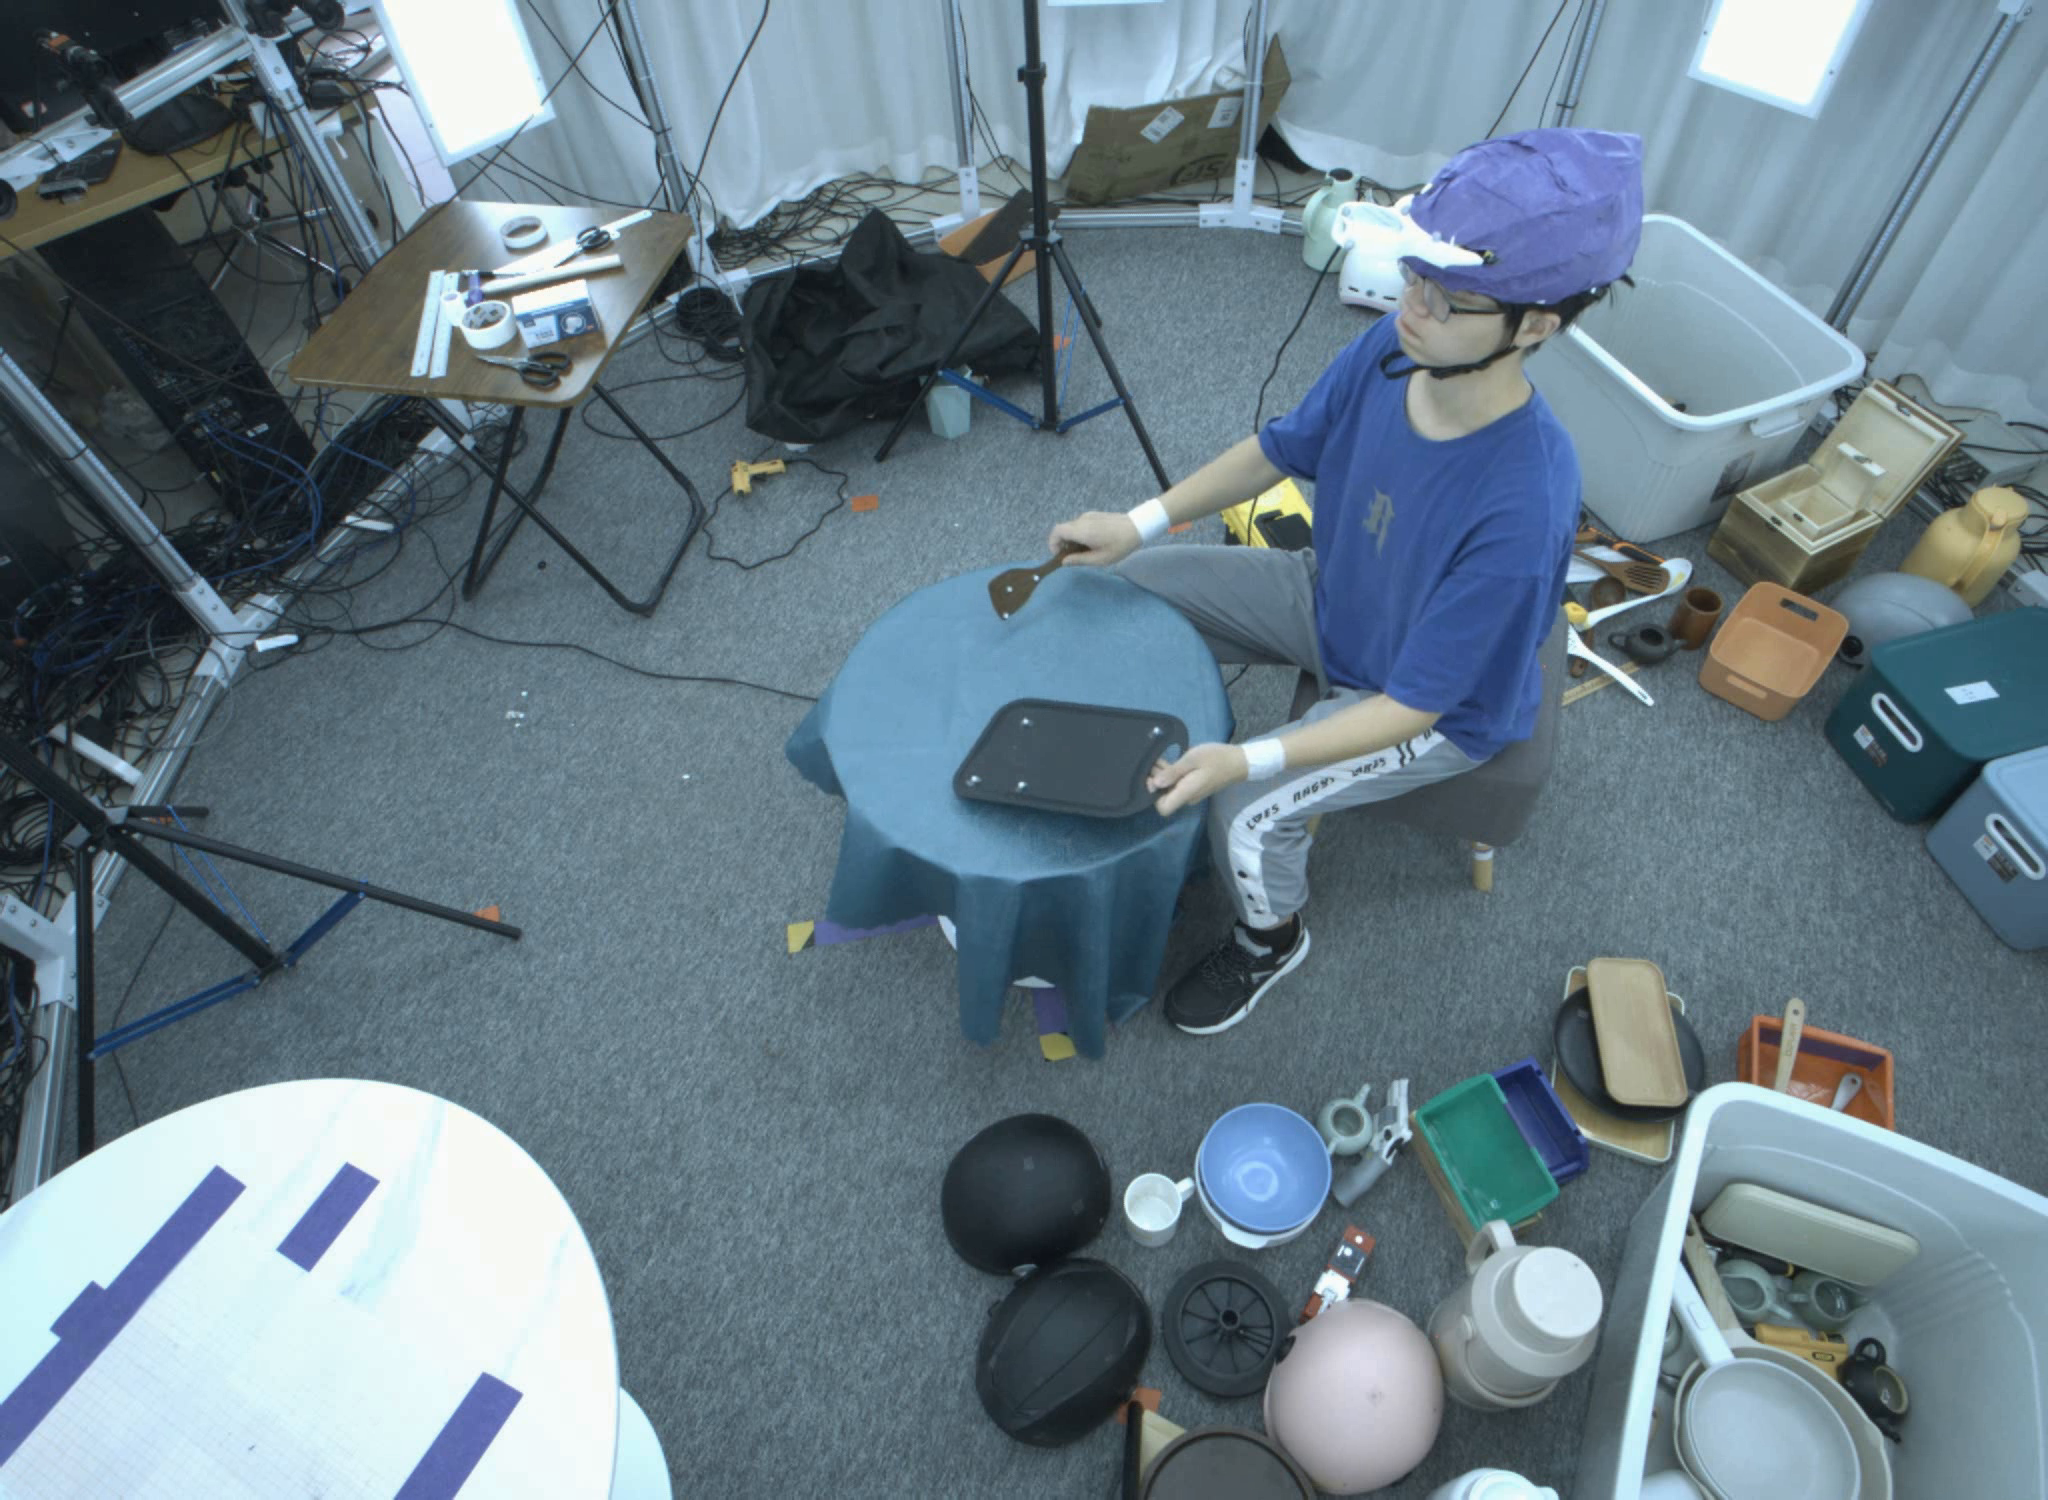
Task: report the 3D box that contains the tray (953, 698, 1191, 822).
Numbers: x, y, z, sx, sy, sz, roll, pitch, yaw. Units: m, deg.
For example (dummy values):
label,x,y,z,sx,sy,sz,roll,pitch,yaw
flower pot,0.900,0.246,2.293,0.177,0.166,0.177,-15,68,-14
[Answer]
label,x,y,z,sx,sy,sz,roll,pitch,yaw
tray,0.069,0.008,1.701,0.319,0.010,0.211,9,47,29

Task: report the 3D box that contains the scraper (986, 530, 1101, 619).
label,x,y,z,sx,sy,sz,roll,pitch,yaw
scraper,0.033,-0.282,1.903,0.212,0.077,0.010,-34,37,-16
